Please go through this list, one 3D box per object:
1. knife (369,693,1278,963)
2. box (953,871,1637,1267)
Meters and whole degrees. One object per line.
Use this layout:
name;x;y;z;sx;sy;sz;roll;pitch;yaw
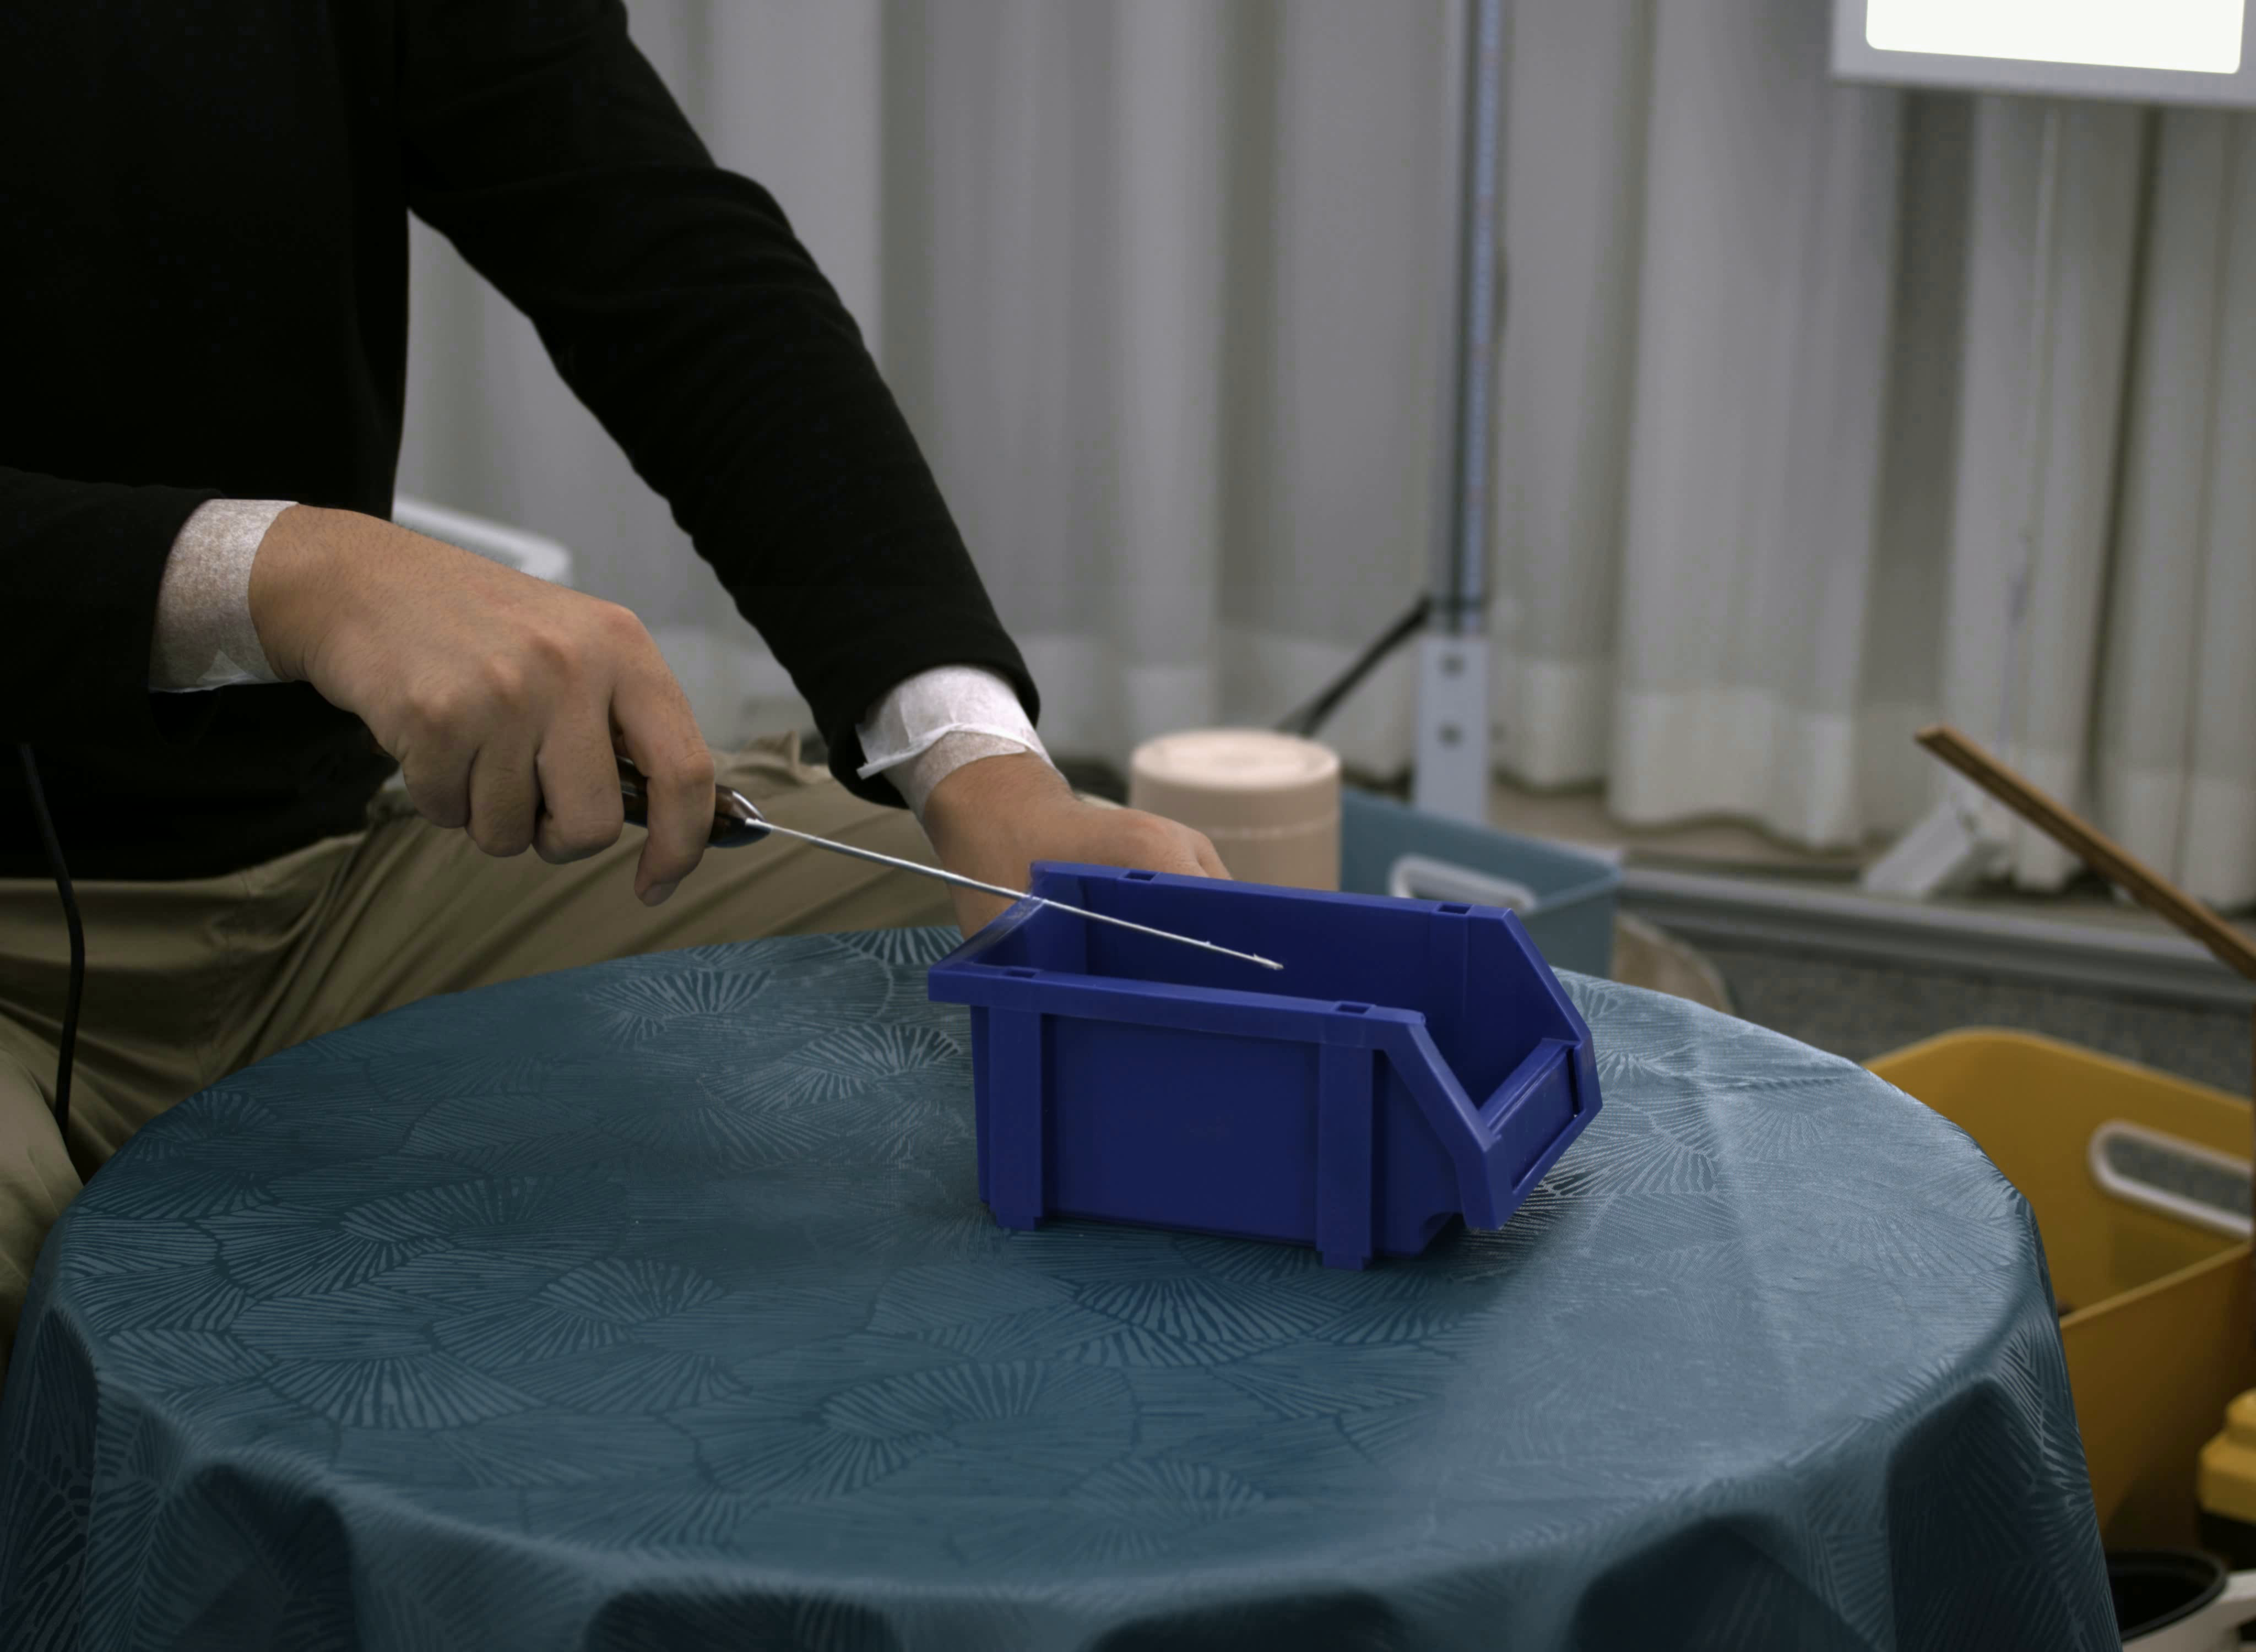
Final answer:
knife;-0.093;0.004;1.596;0.288;0.020;0.050;15;-2;3
box;0.054;0.073;1.610;0.177;0.082;0.124;4;16;20
